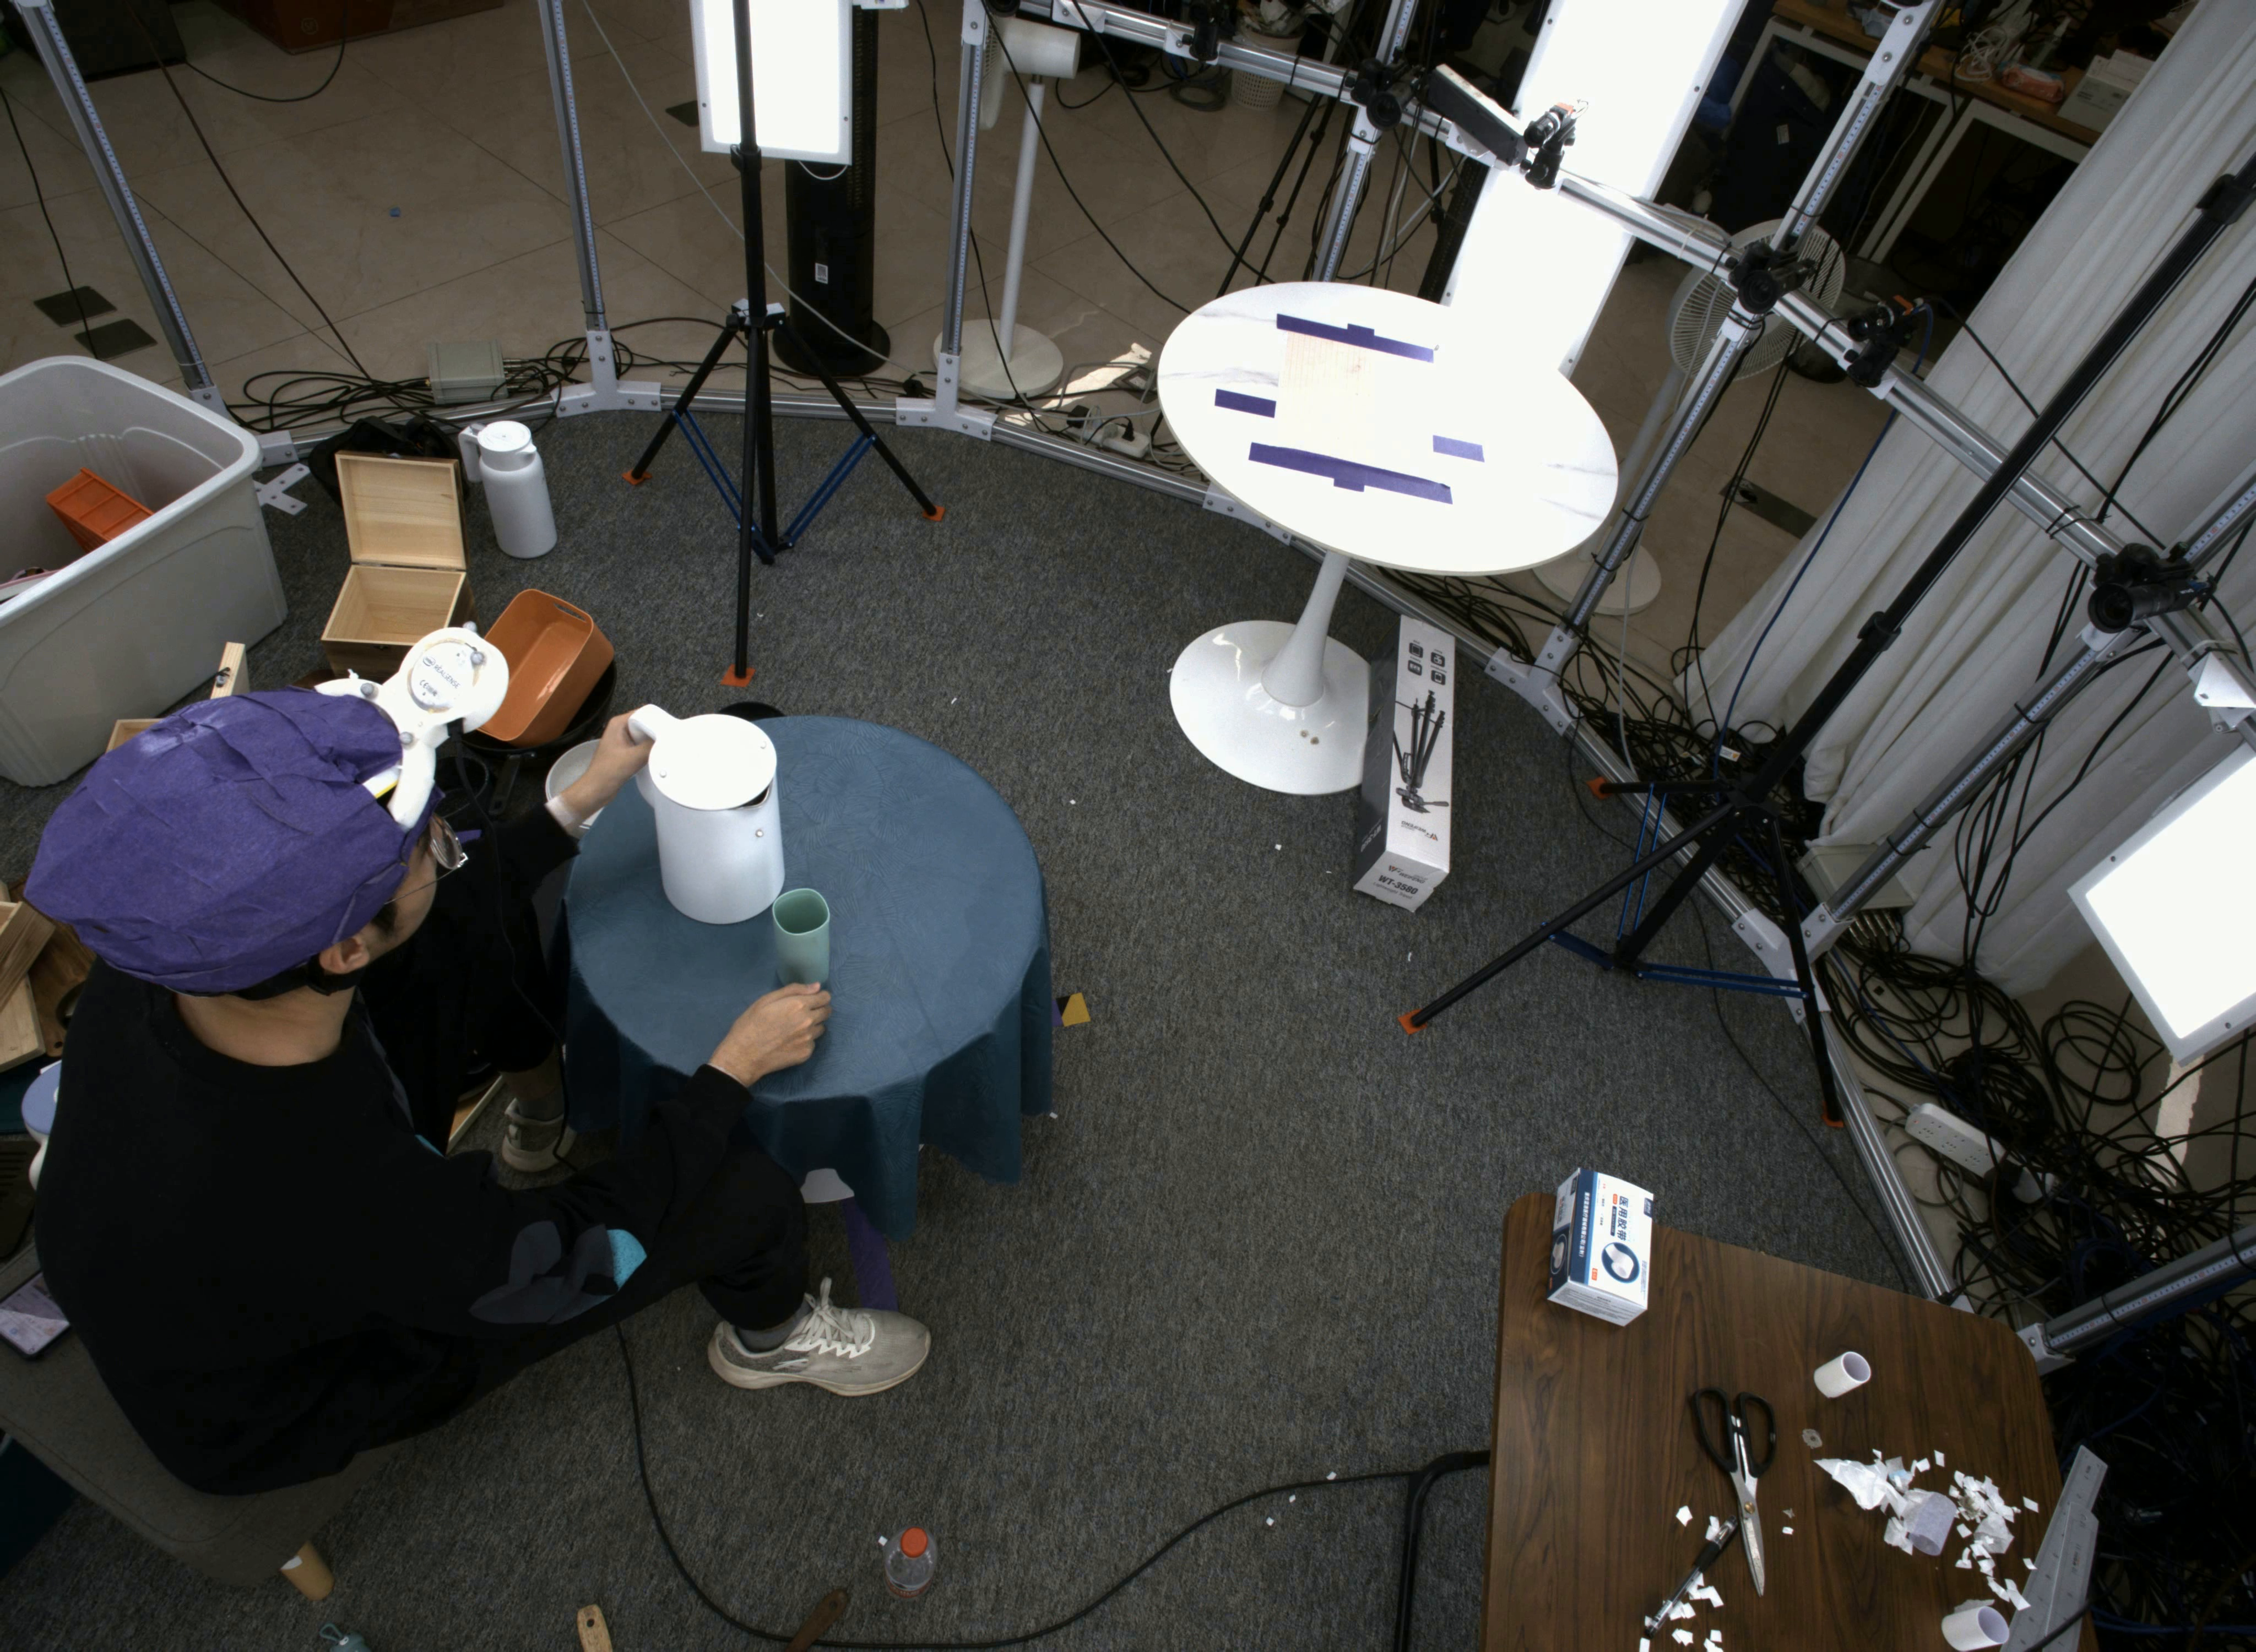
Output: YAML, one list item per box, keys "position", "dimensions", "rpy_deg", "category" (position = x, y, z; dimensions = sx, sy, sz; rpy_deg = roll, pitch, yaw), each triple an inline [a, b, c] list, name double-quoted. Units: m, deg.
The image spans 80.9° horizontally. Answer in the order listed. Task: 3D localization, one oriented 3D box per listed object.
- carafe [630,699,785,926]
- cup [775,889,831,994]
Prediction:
- position: [-0.518, -0.025, 1.574]
  dimensions: [0.209, 0.245, 0.152]
  rpy_deg: [35, 52, 13]
  category: "carafe"
- position: [-0.391, 0.138, 1.556]
  dimensions: [0.066, 0.135, 0.065]
  rpy_deg: [7, 52, -8]
  category: "cup"
